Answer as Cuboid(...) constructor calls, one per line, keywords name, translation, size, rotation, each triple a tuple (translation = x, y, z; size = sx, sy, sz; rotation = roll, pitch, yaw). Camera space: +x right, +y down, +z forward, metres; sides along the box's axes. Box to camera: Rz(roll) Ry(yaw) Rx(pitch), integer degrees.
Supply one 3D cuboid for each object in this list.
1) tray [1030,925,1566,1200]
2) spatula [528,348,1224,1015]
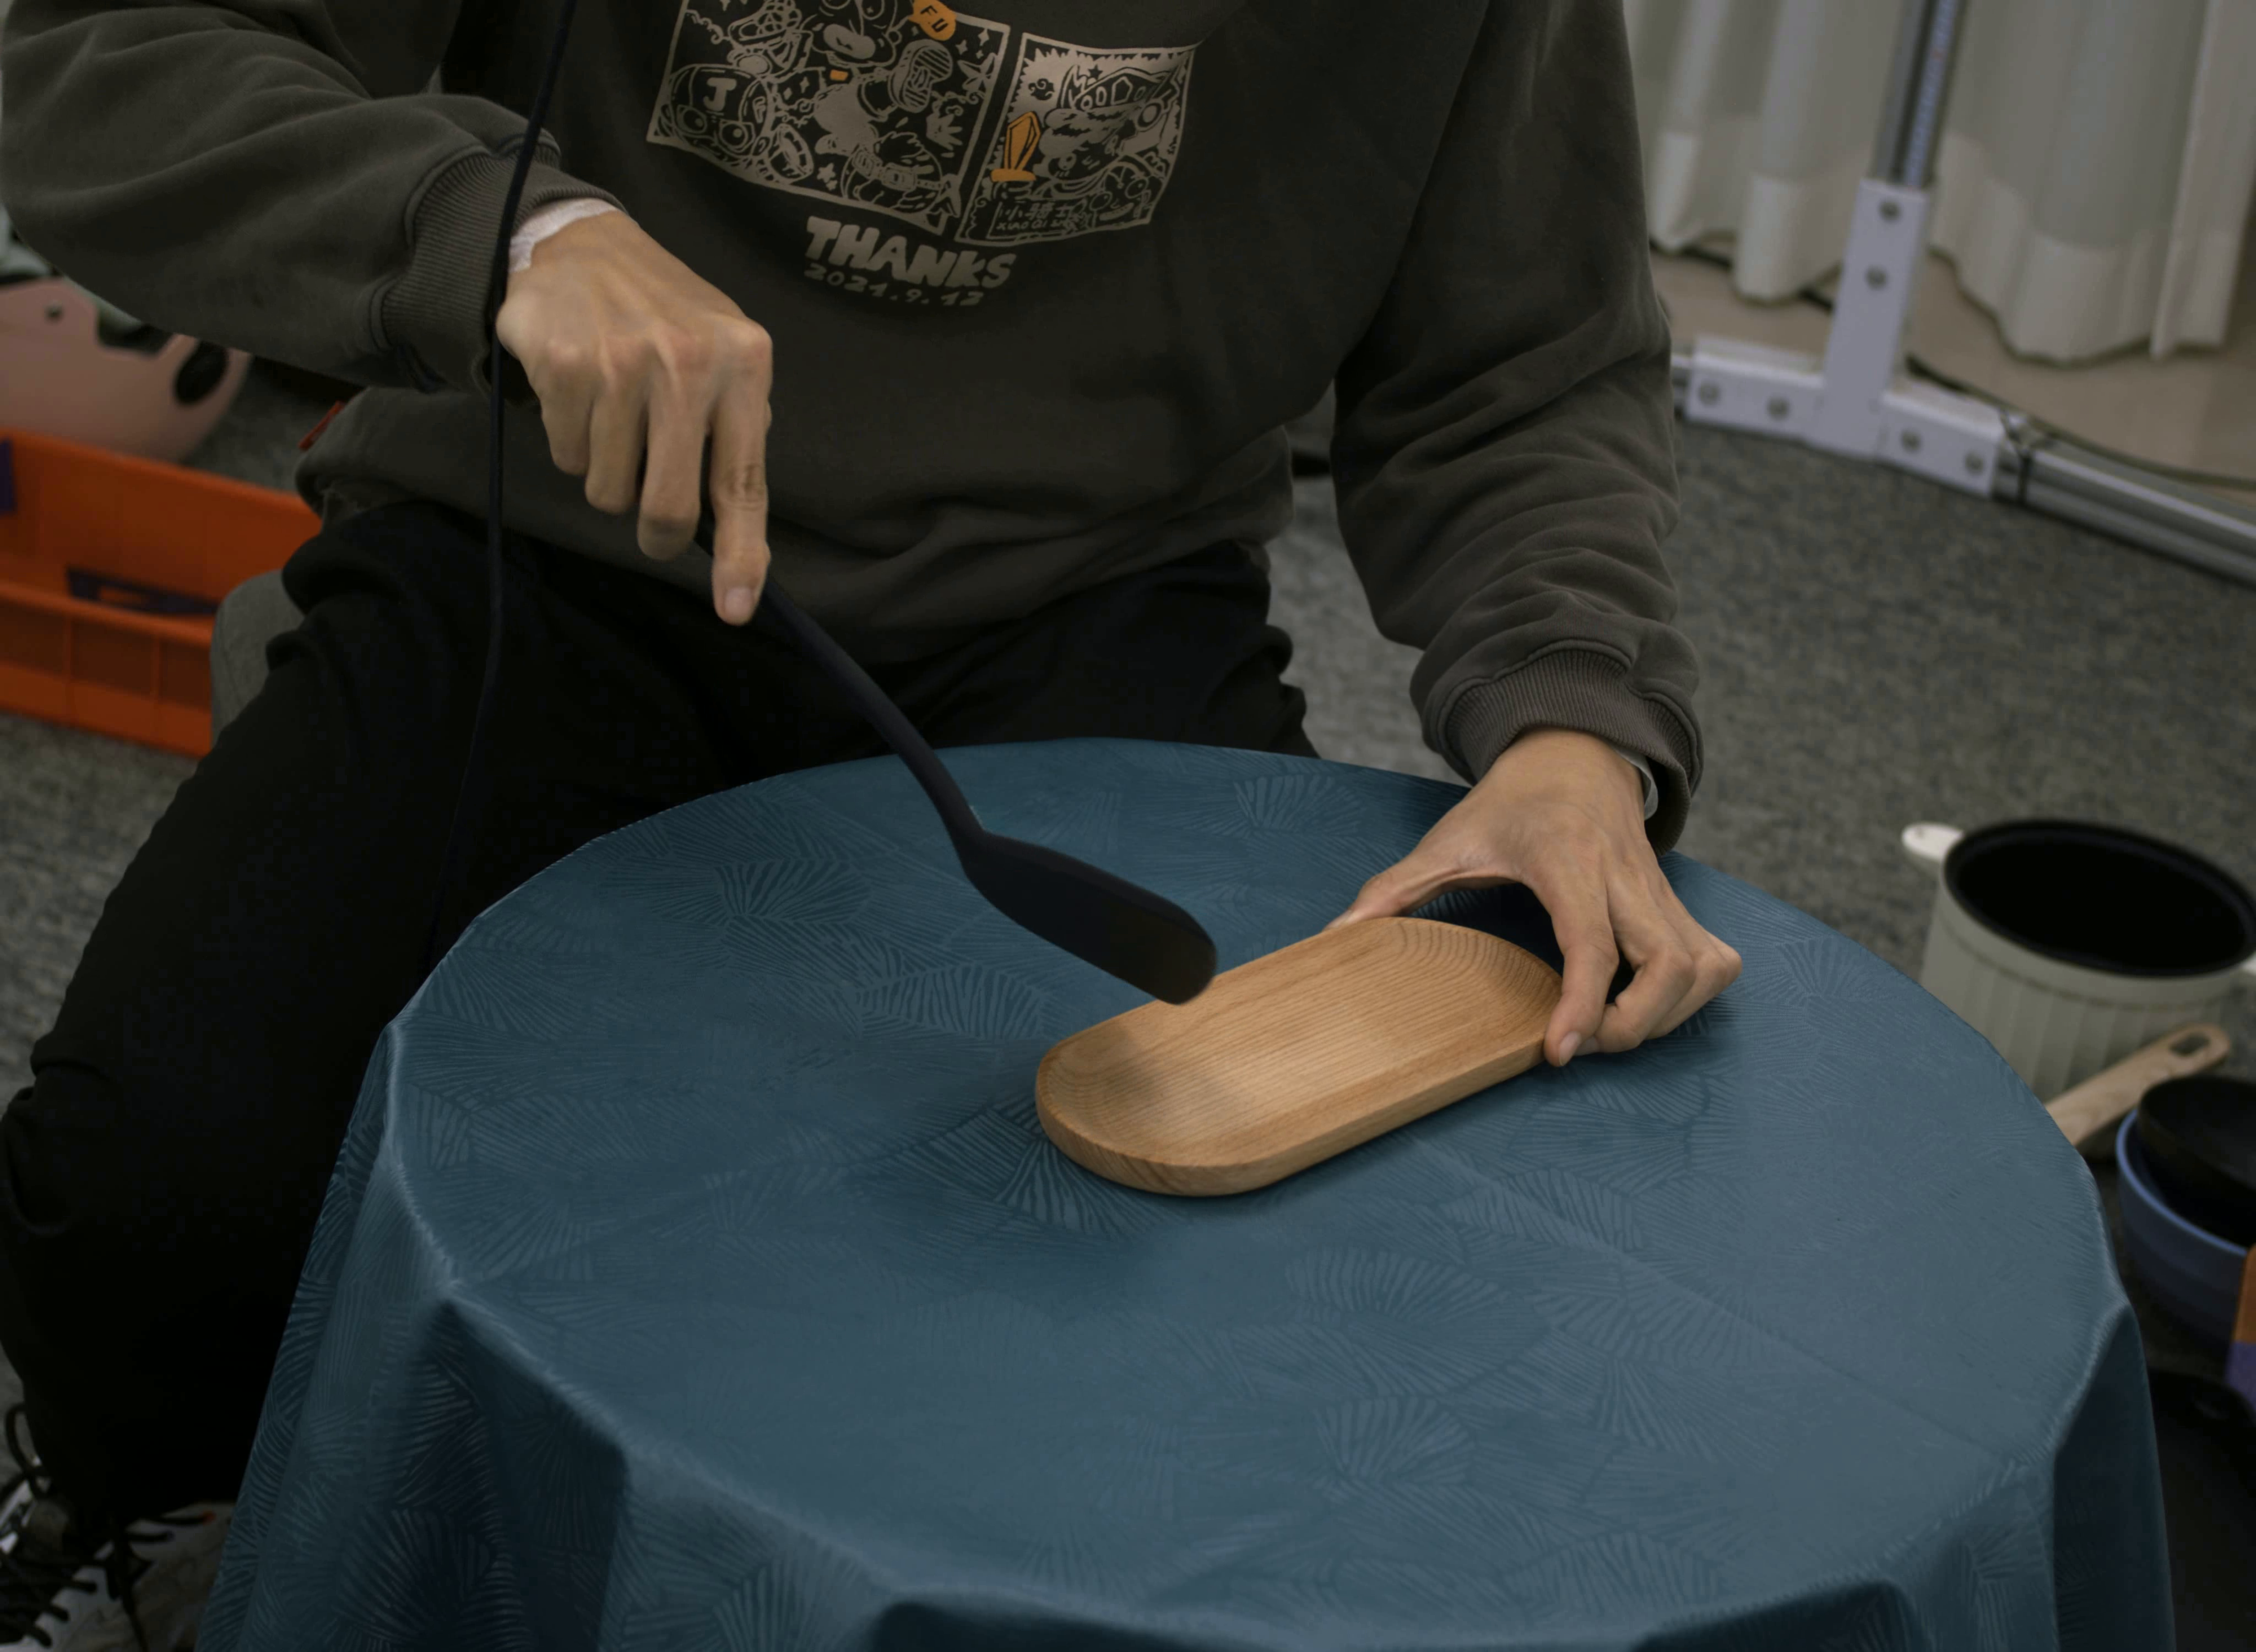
Cuboid(name="tray", translation=(0.062, 0.083, 1.882), size=(0.230, 0.020, 0.102), rotation=(-21, 36, -41))
Cuboid(name="spatula", translation=(-0.090, -0.053, 1.834), size=(0.040, 0.099, 0.327), rotation=(-39, 81, -17))
